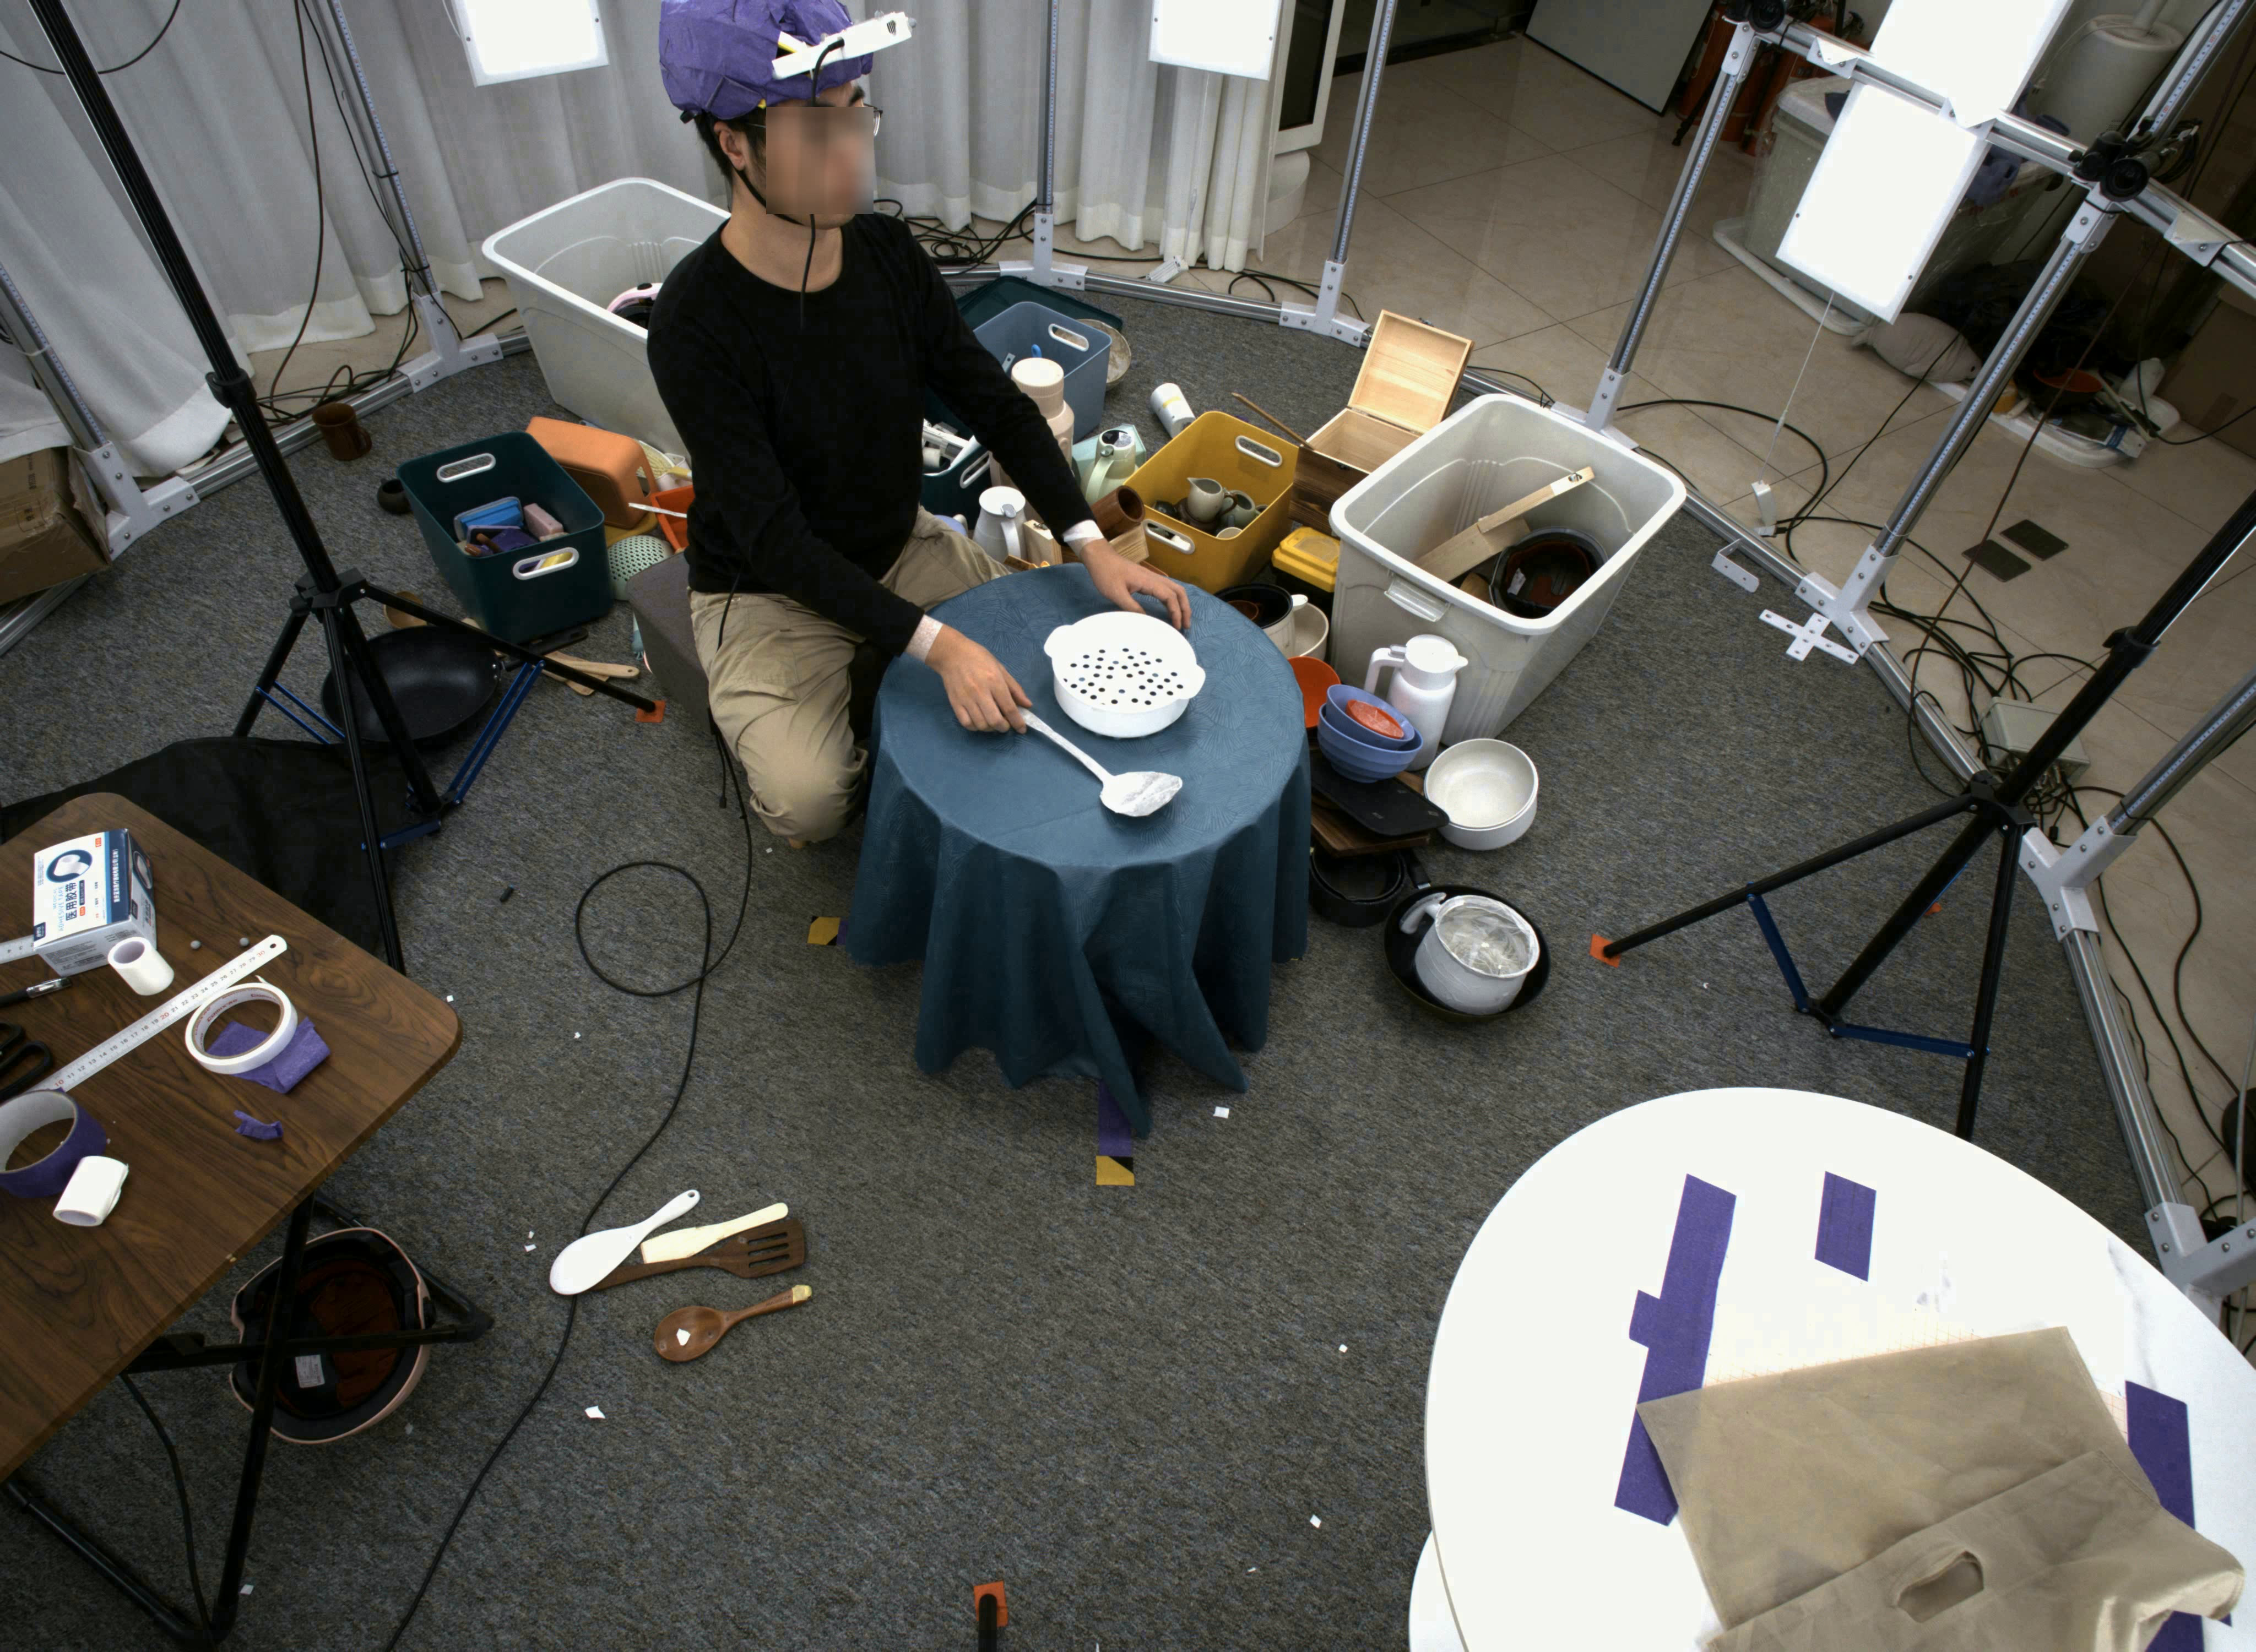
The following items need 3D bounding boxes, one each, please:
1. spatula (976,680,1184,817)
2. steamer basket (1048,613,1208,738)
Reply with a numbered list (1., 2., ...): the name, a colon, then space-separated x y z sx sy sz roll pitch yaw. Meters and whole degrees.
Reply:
1. spatula: -0.085 -0.117 1.741 0.370 0.044 0.100 36 57 24
2. steamer basket: -0.002 -0.212 1.808 0.232 0.067 0.206 19 50 13
